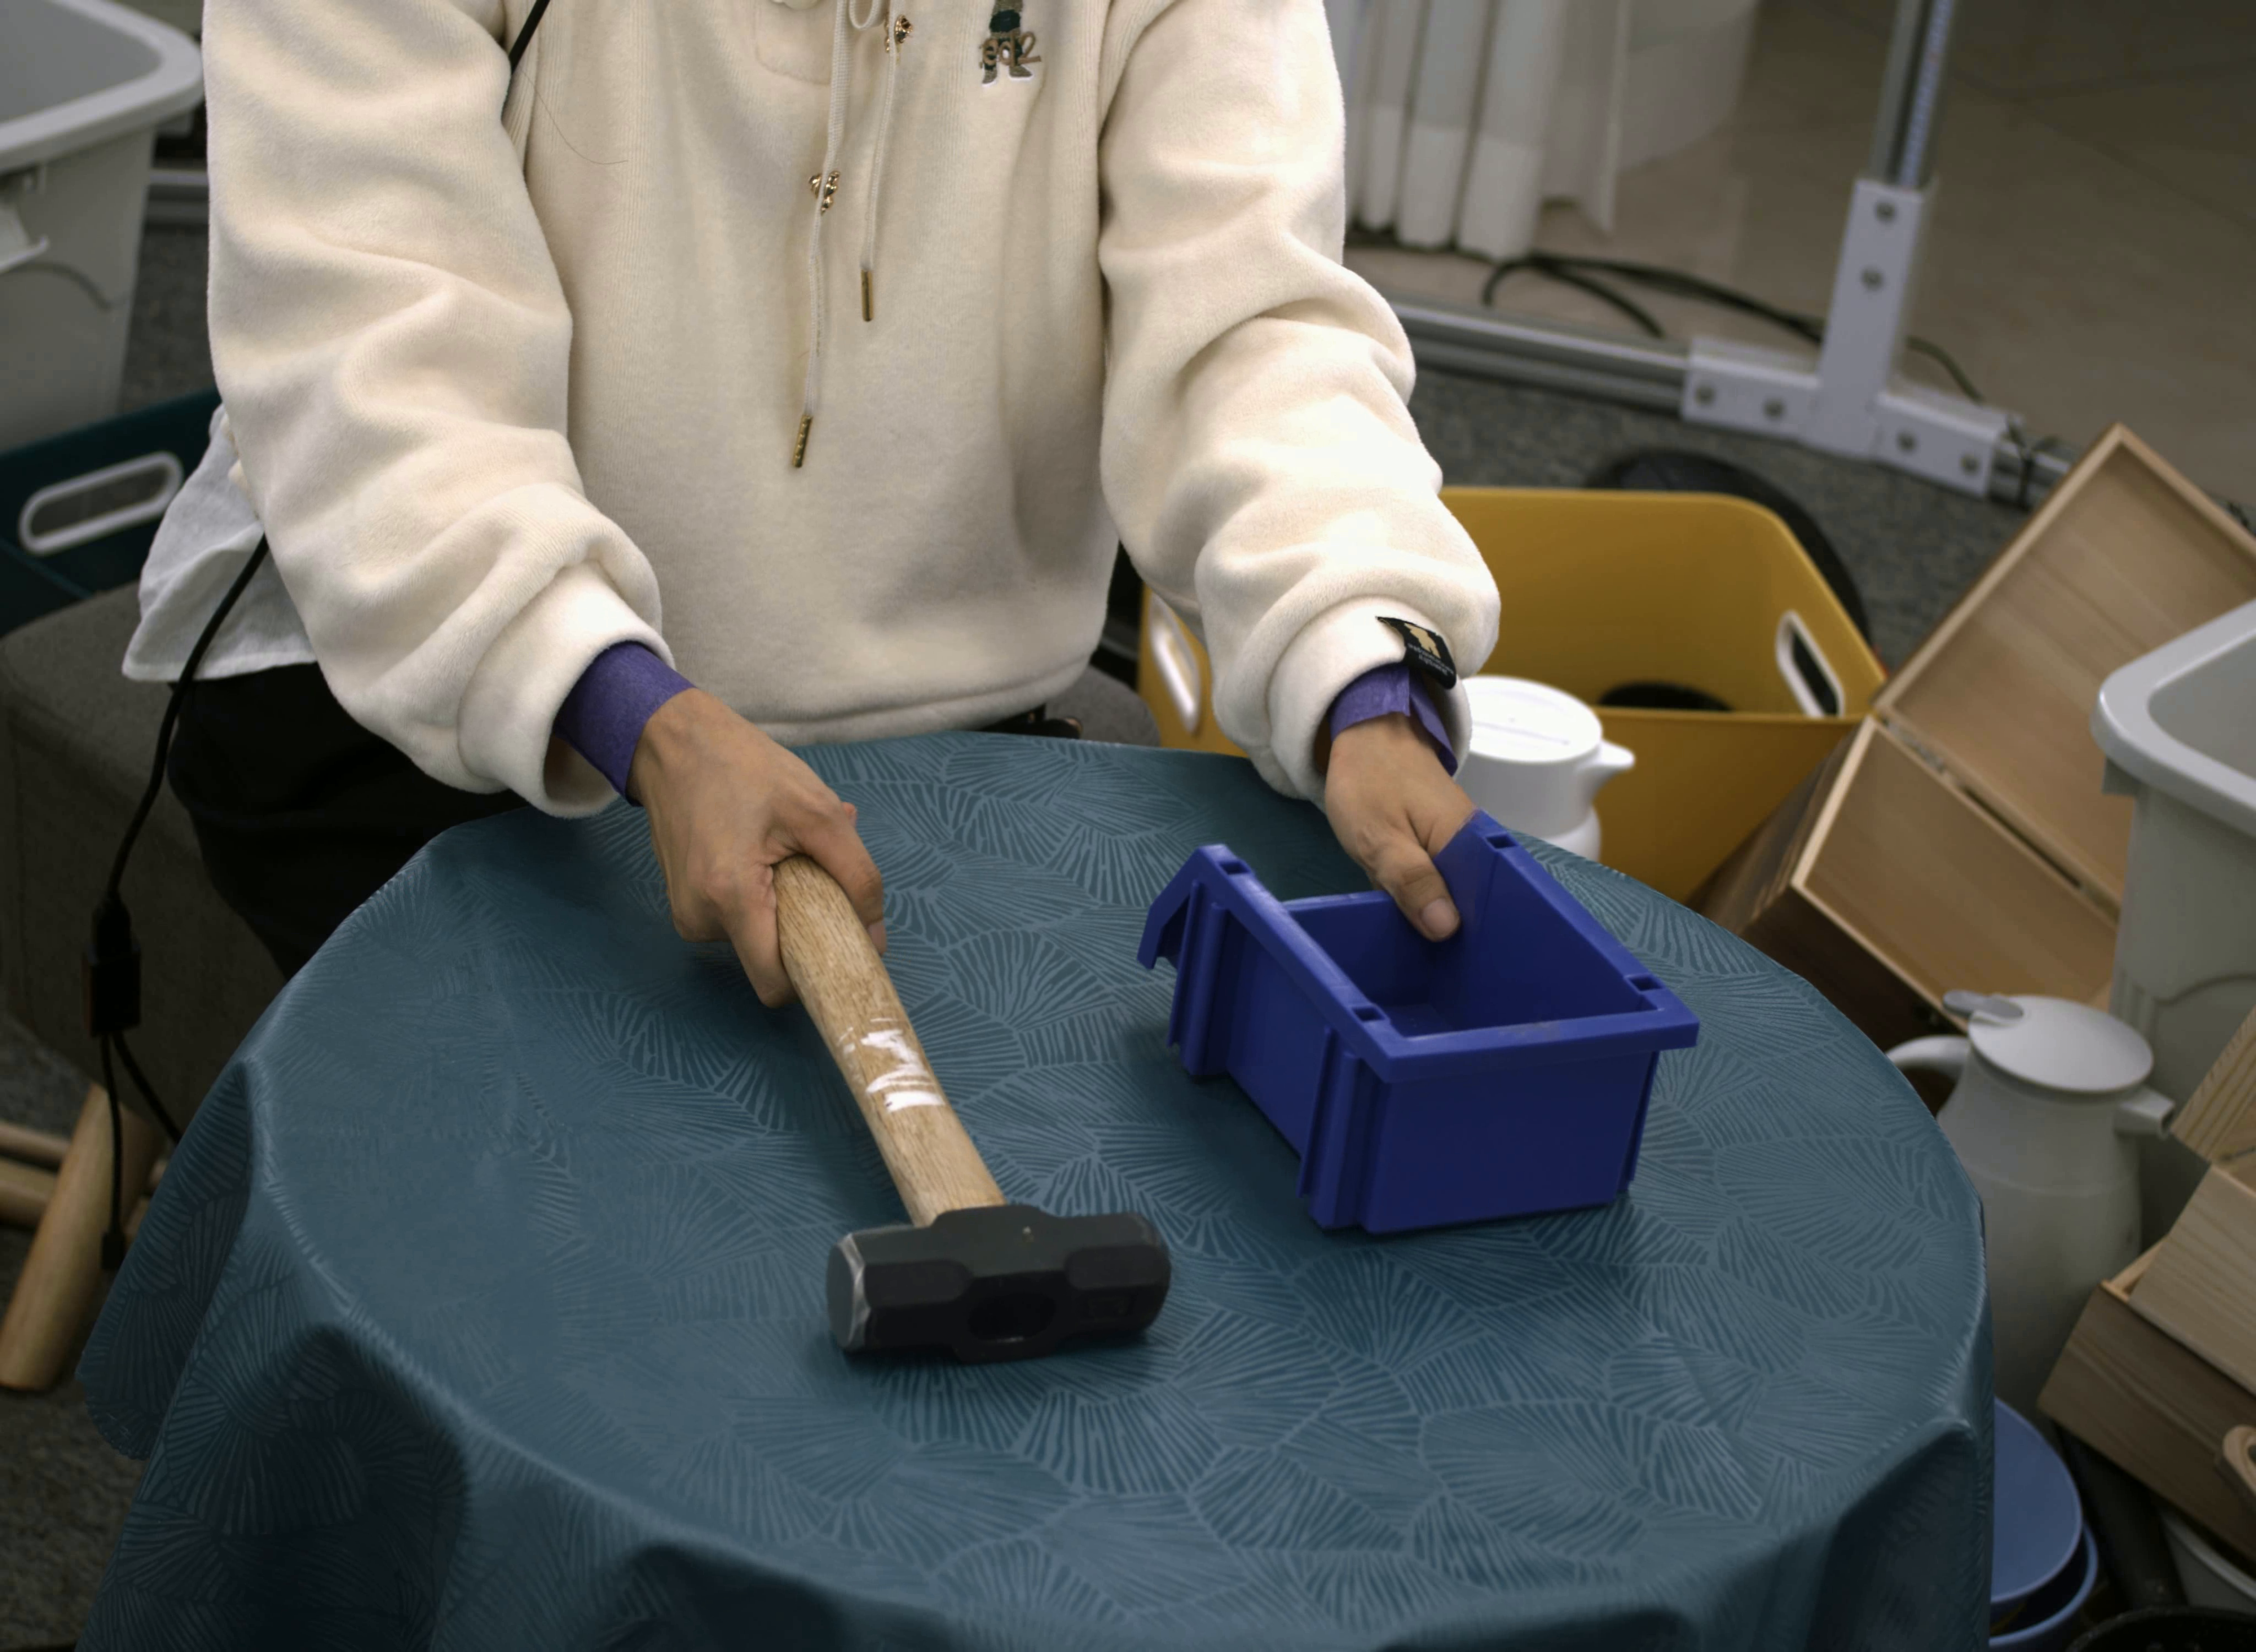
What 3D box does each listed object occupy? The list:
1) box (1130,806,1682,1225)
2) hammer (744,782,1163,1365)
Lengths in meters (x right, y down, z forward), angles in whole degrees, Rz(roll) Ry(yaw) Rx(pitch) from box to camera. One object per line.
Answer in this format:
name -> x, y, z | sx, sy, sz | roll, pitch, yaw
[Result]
box -> 0.091, 0.061, 1.854 | 0.123, 0.081, 0.181 | -5, 32, -24
hammer -> -0.082, 0.076, 1.809 | 0.106, 0.038, 0.308 | -2, 33, -18
